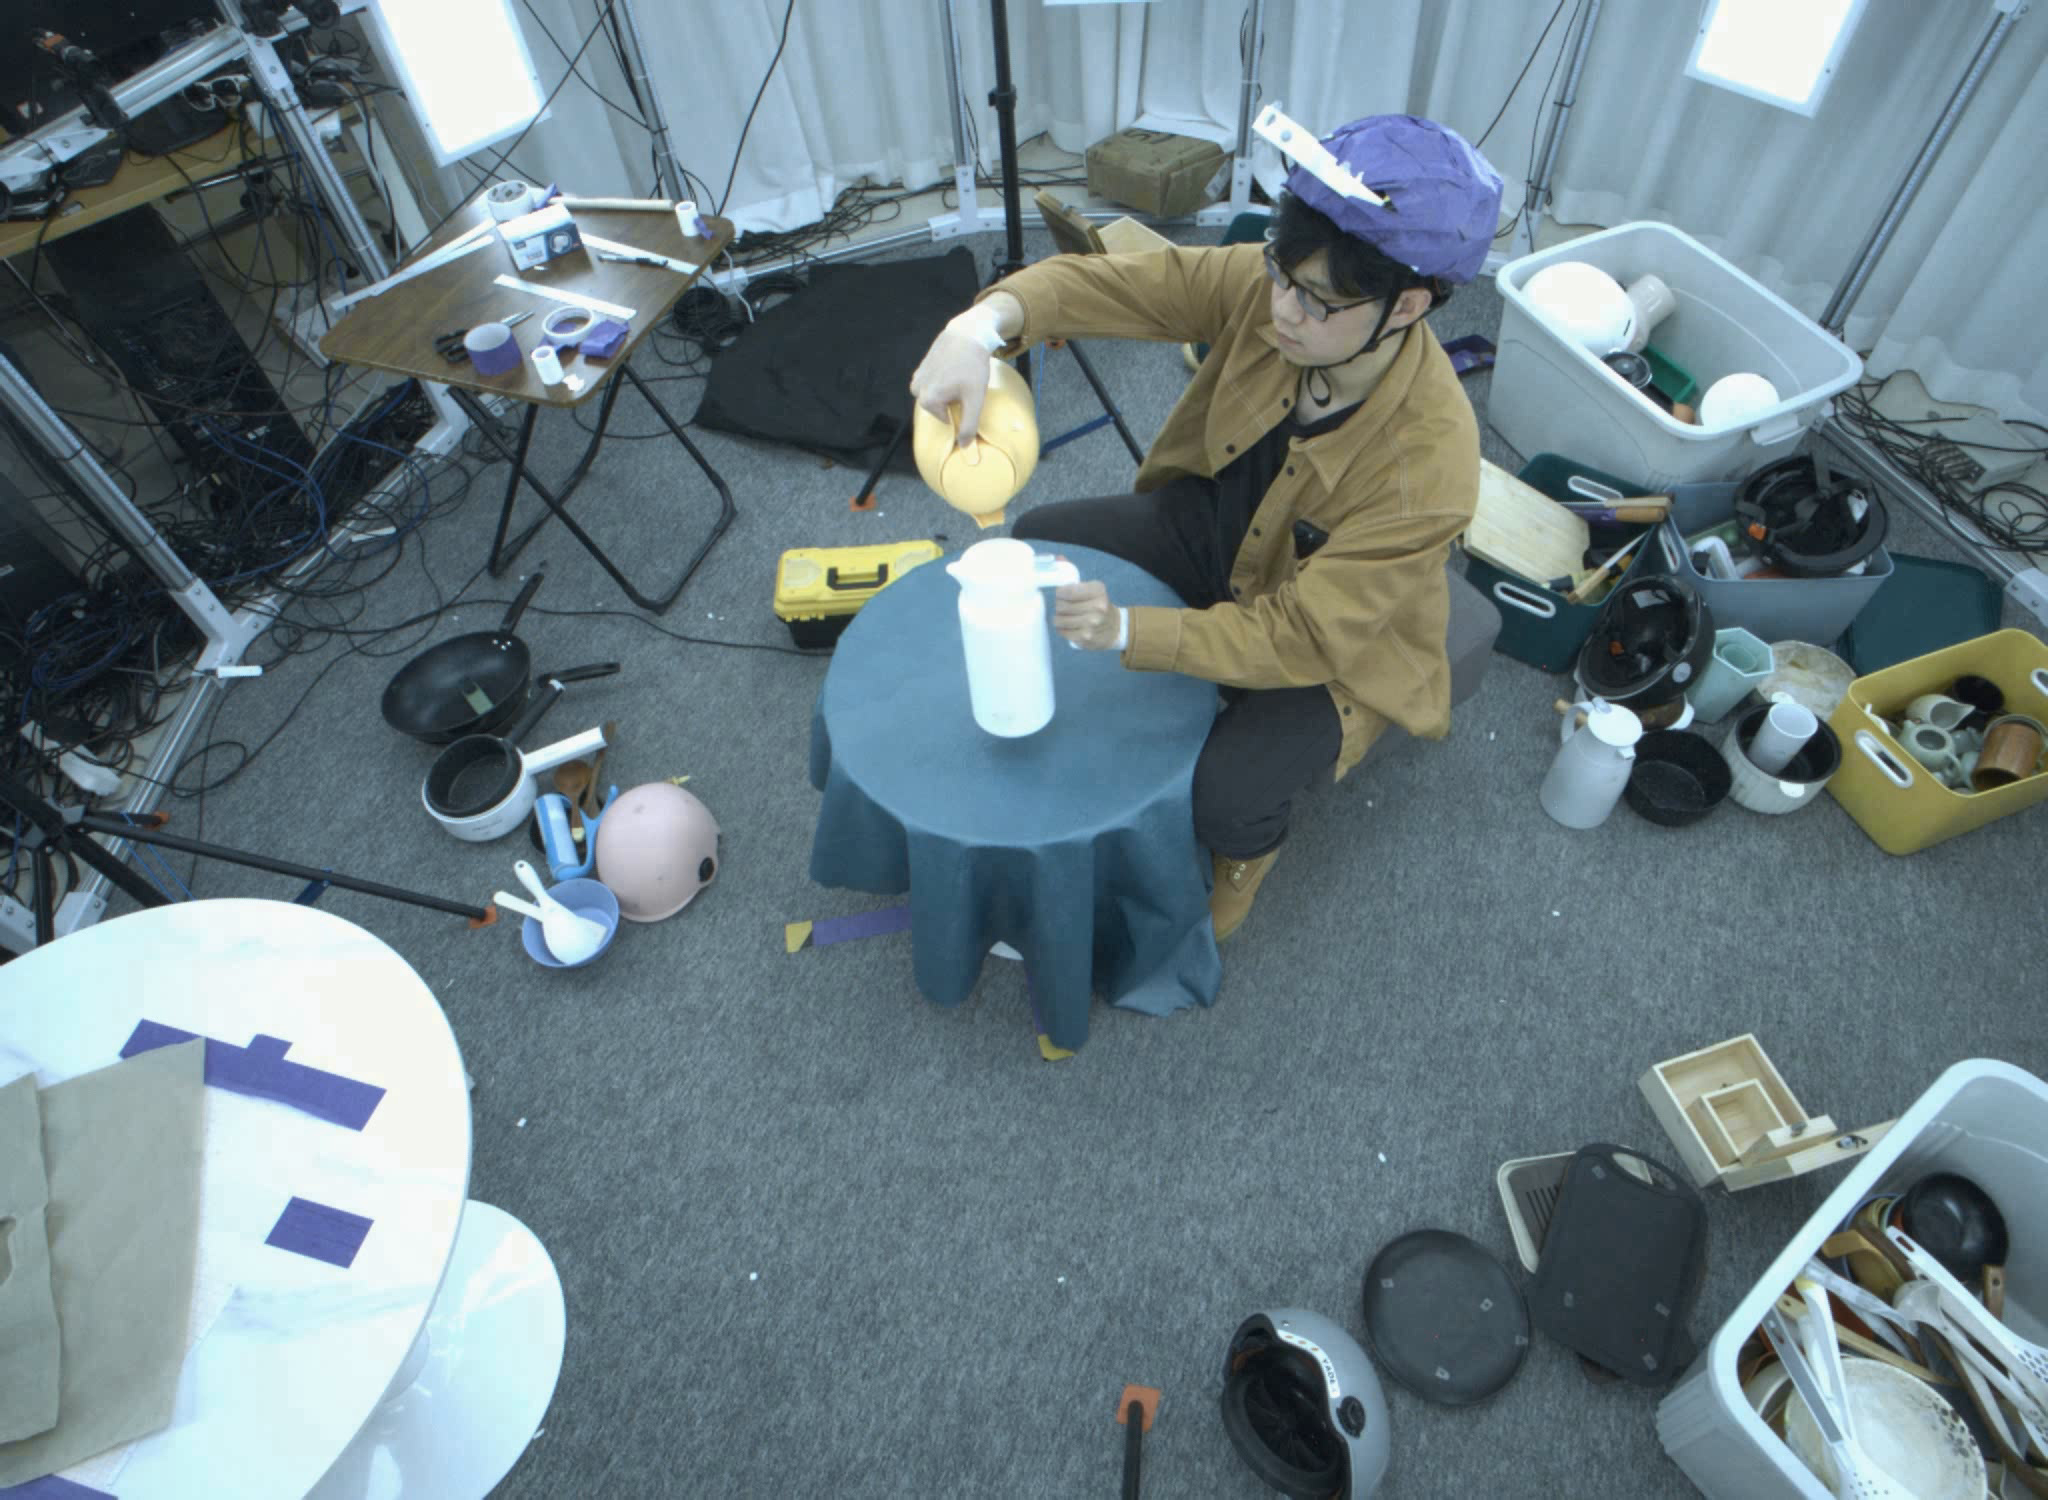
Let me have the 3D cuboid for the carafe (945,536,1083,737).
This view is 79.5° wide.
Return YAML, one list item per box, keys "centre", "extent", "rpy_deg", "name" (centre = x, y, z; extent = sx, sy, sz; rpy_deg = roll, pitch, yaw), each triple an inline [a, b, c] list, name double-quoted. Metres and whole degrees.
- centre: [-0.007, -0.151, 1.649]
  extent: [0.172, 0.272, 0.122]
  rpy_deg: [-3, 43, 2]
  name: "carafe"

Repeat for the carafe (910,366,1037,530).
- centre: [-0.068, -0.408, 1.538]
  extent: [0.163, 0.205, 0.256]
  rpy_deg: [-13, 38, 0]
  name: "carafe"
